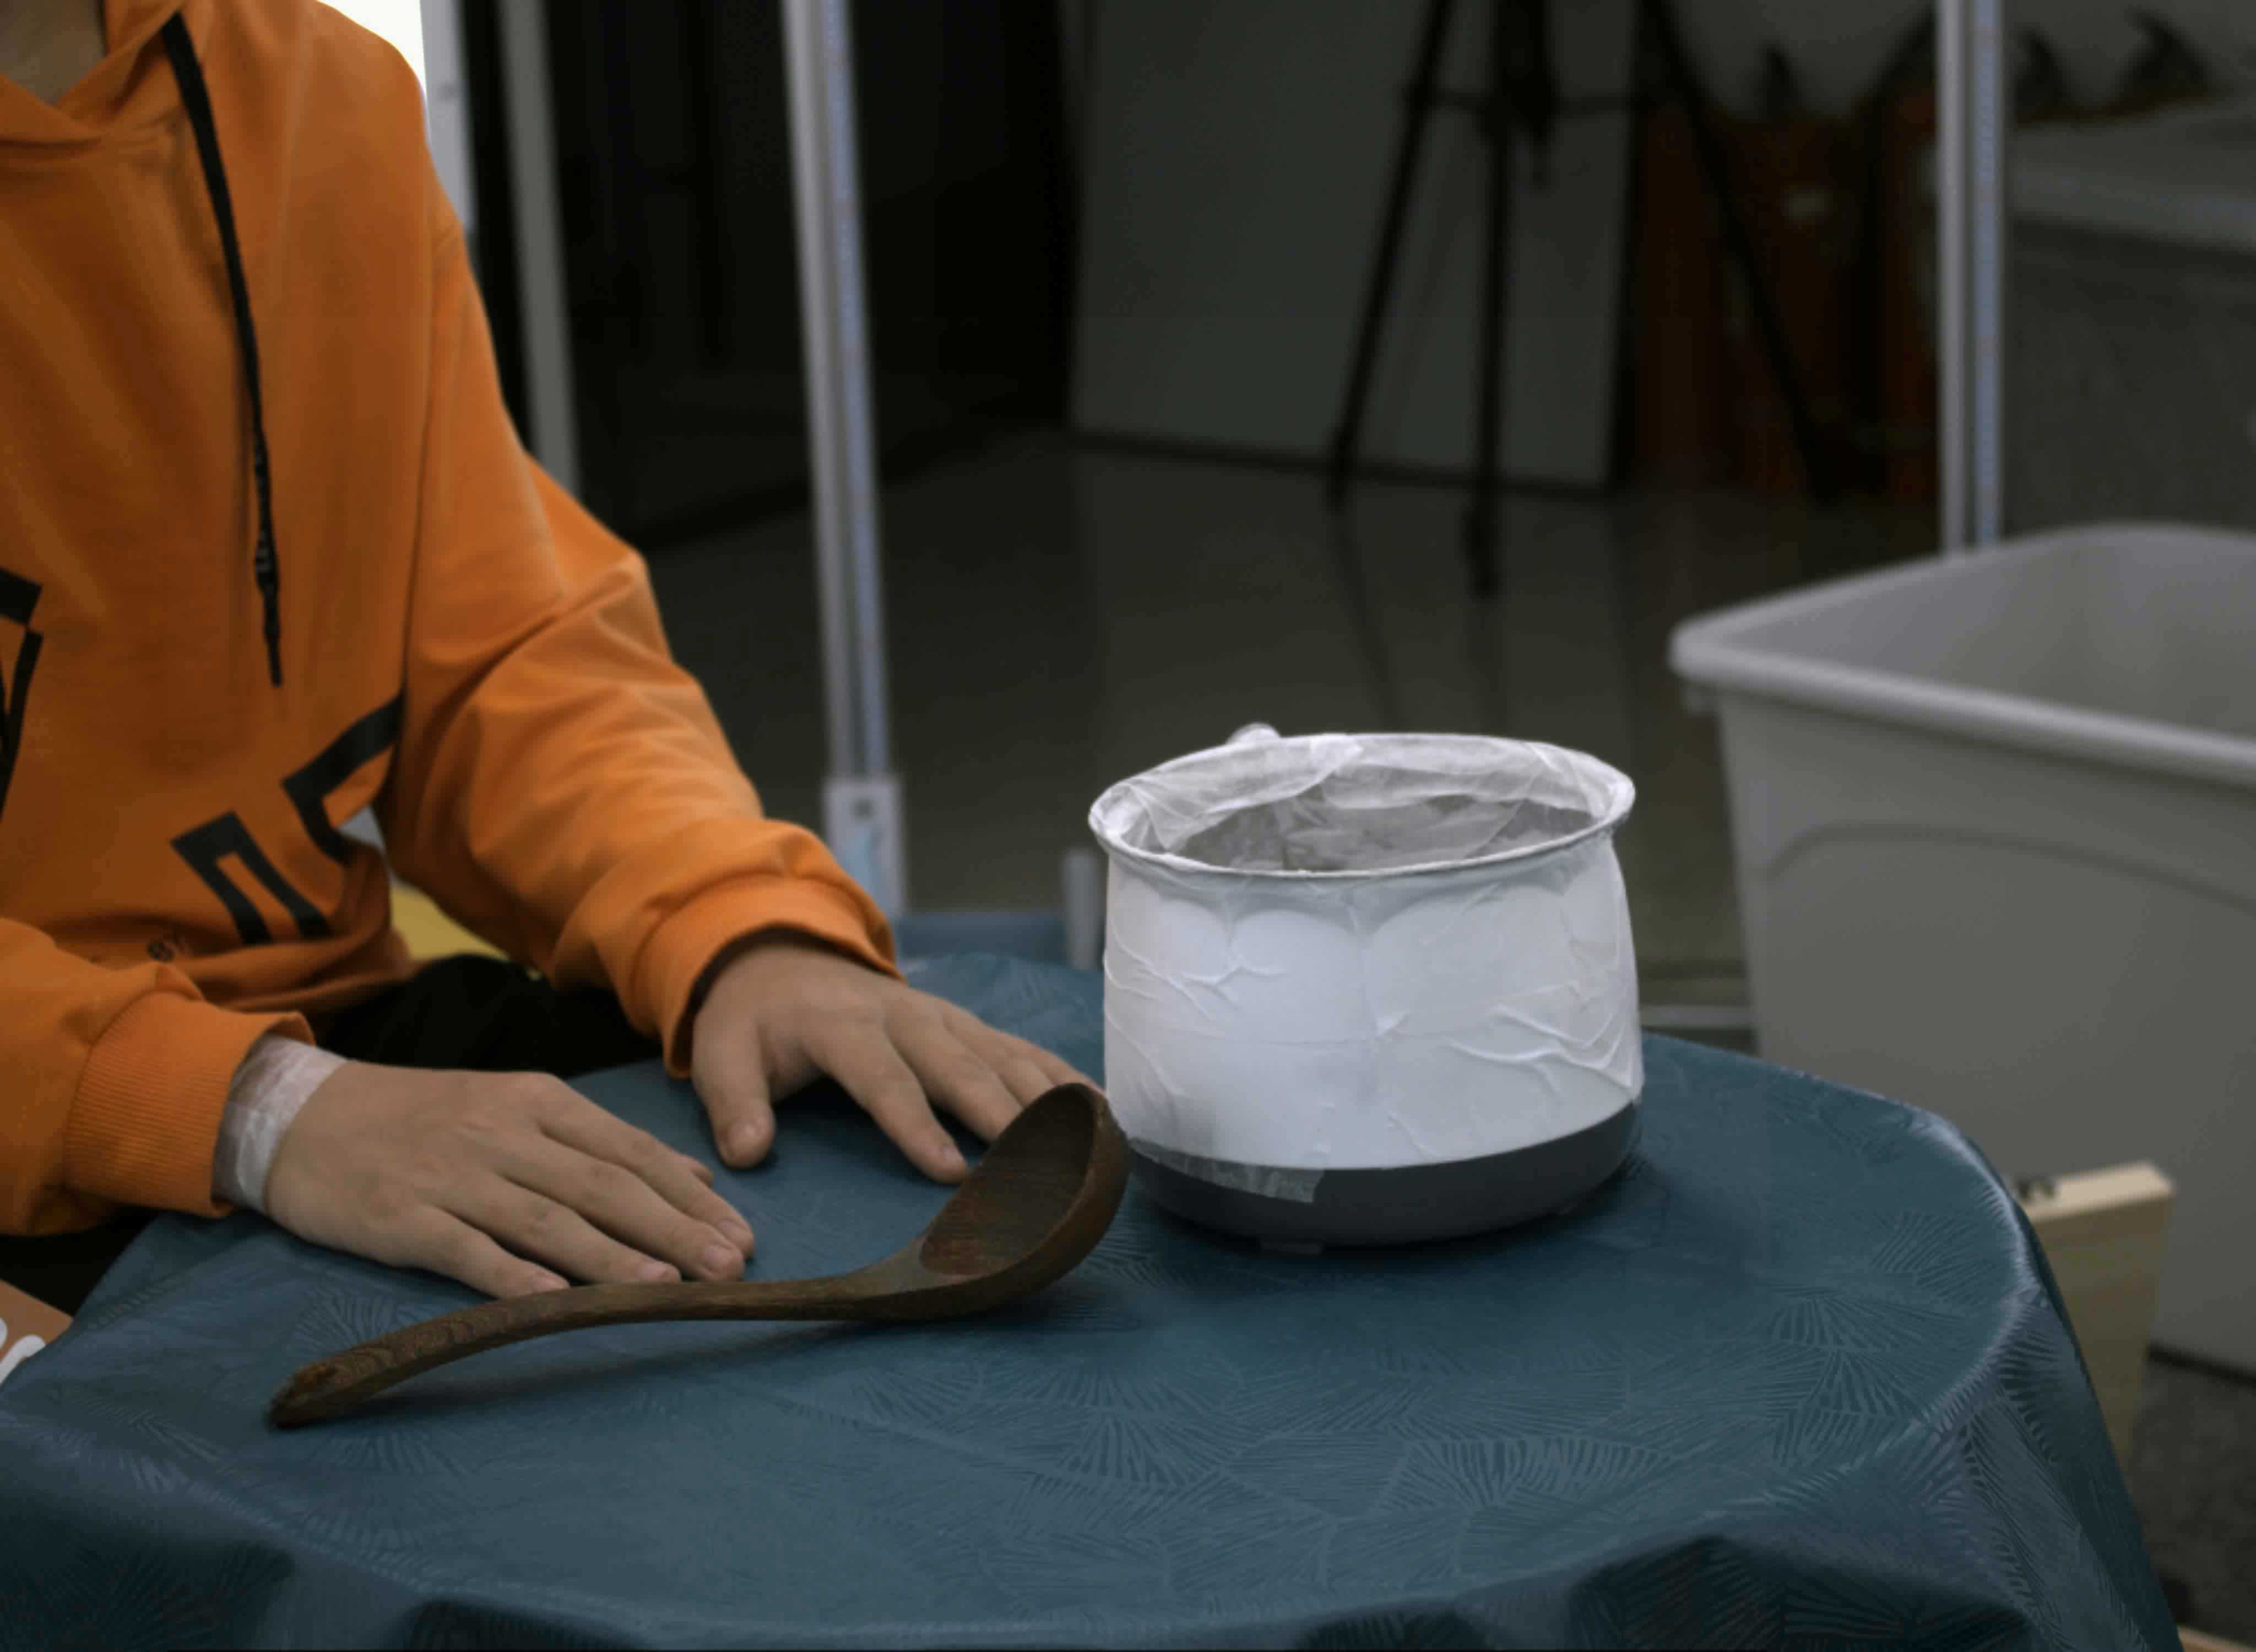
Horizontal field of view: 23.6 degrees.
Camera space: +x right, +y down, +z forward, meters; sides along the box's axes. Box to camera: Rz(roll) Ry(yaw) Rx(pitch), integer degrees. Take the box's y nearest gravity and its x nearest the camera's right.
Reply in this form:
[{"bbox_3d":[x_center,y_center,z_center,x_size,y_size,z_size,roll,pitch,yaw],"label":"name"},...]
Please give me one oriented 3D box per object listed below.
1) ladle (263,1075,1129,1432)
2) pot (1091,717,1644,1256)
[{"bbox_3d":[-0.129,0.128,1.636,0.268,0.072,0.076,-7,10,-16],"label":"ladle"},{"bbox_3d":[0.069,0.046,1.766,0.175,0.138,0.236,-8,15,-18],"label":"pot"}]
